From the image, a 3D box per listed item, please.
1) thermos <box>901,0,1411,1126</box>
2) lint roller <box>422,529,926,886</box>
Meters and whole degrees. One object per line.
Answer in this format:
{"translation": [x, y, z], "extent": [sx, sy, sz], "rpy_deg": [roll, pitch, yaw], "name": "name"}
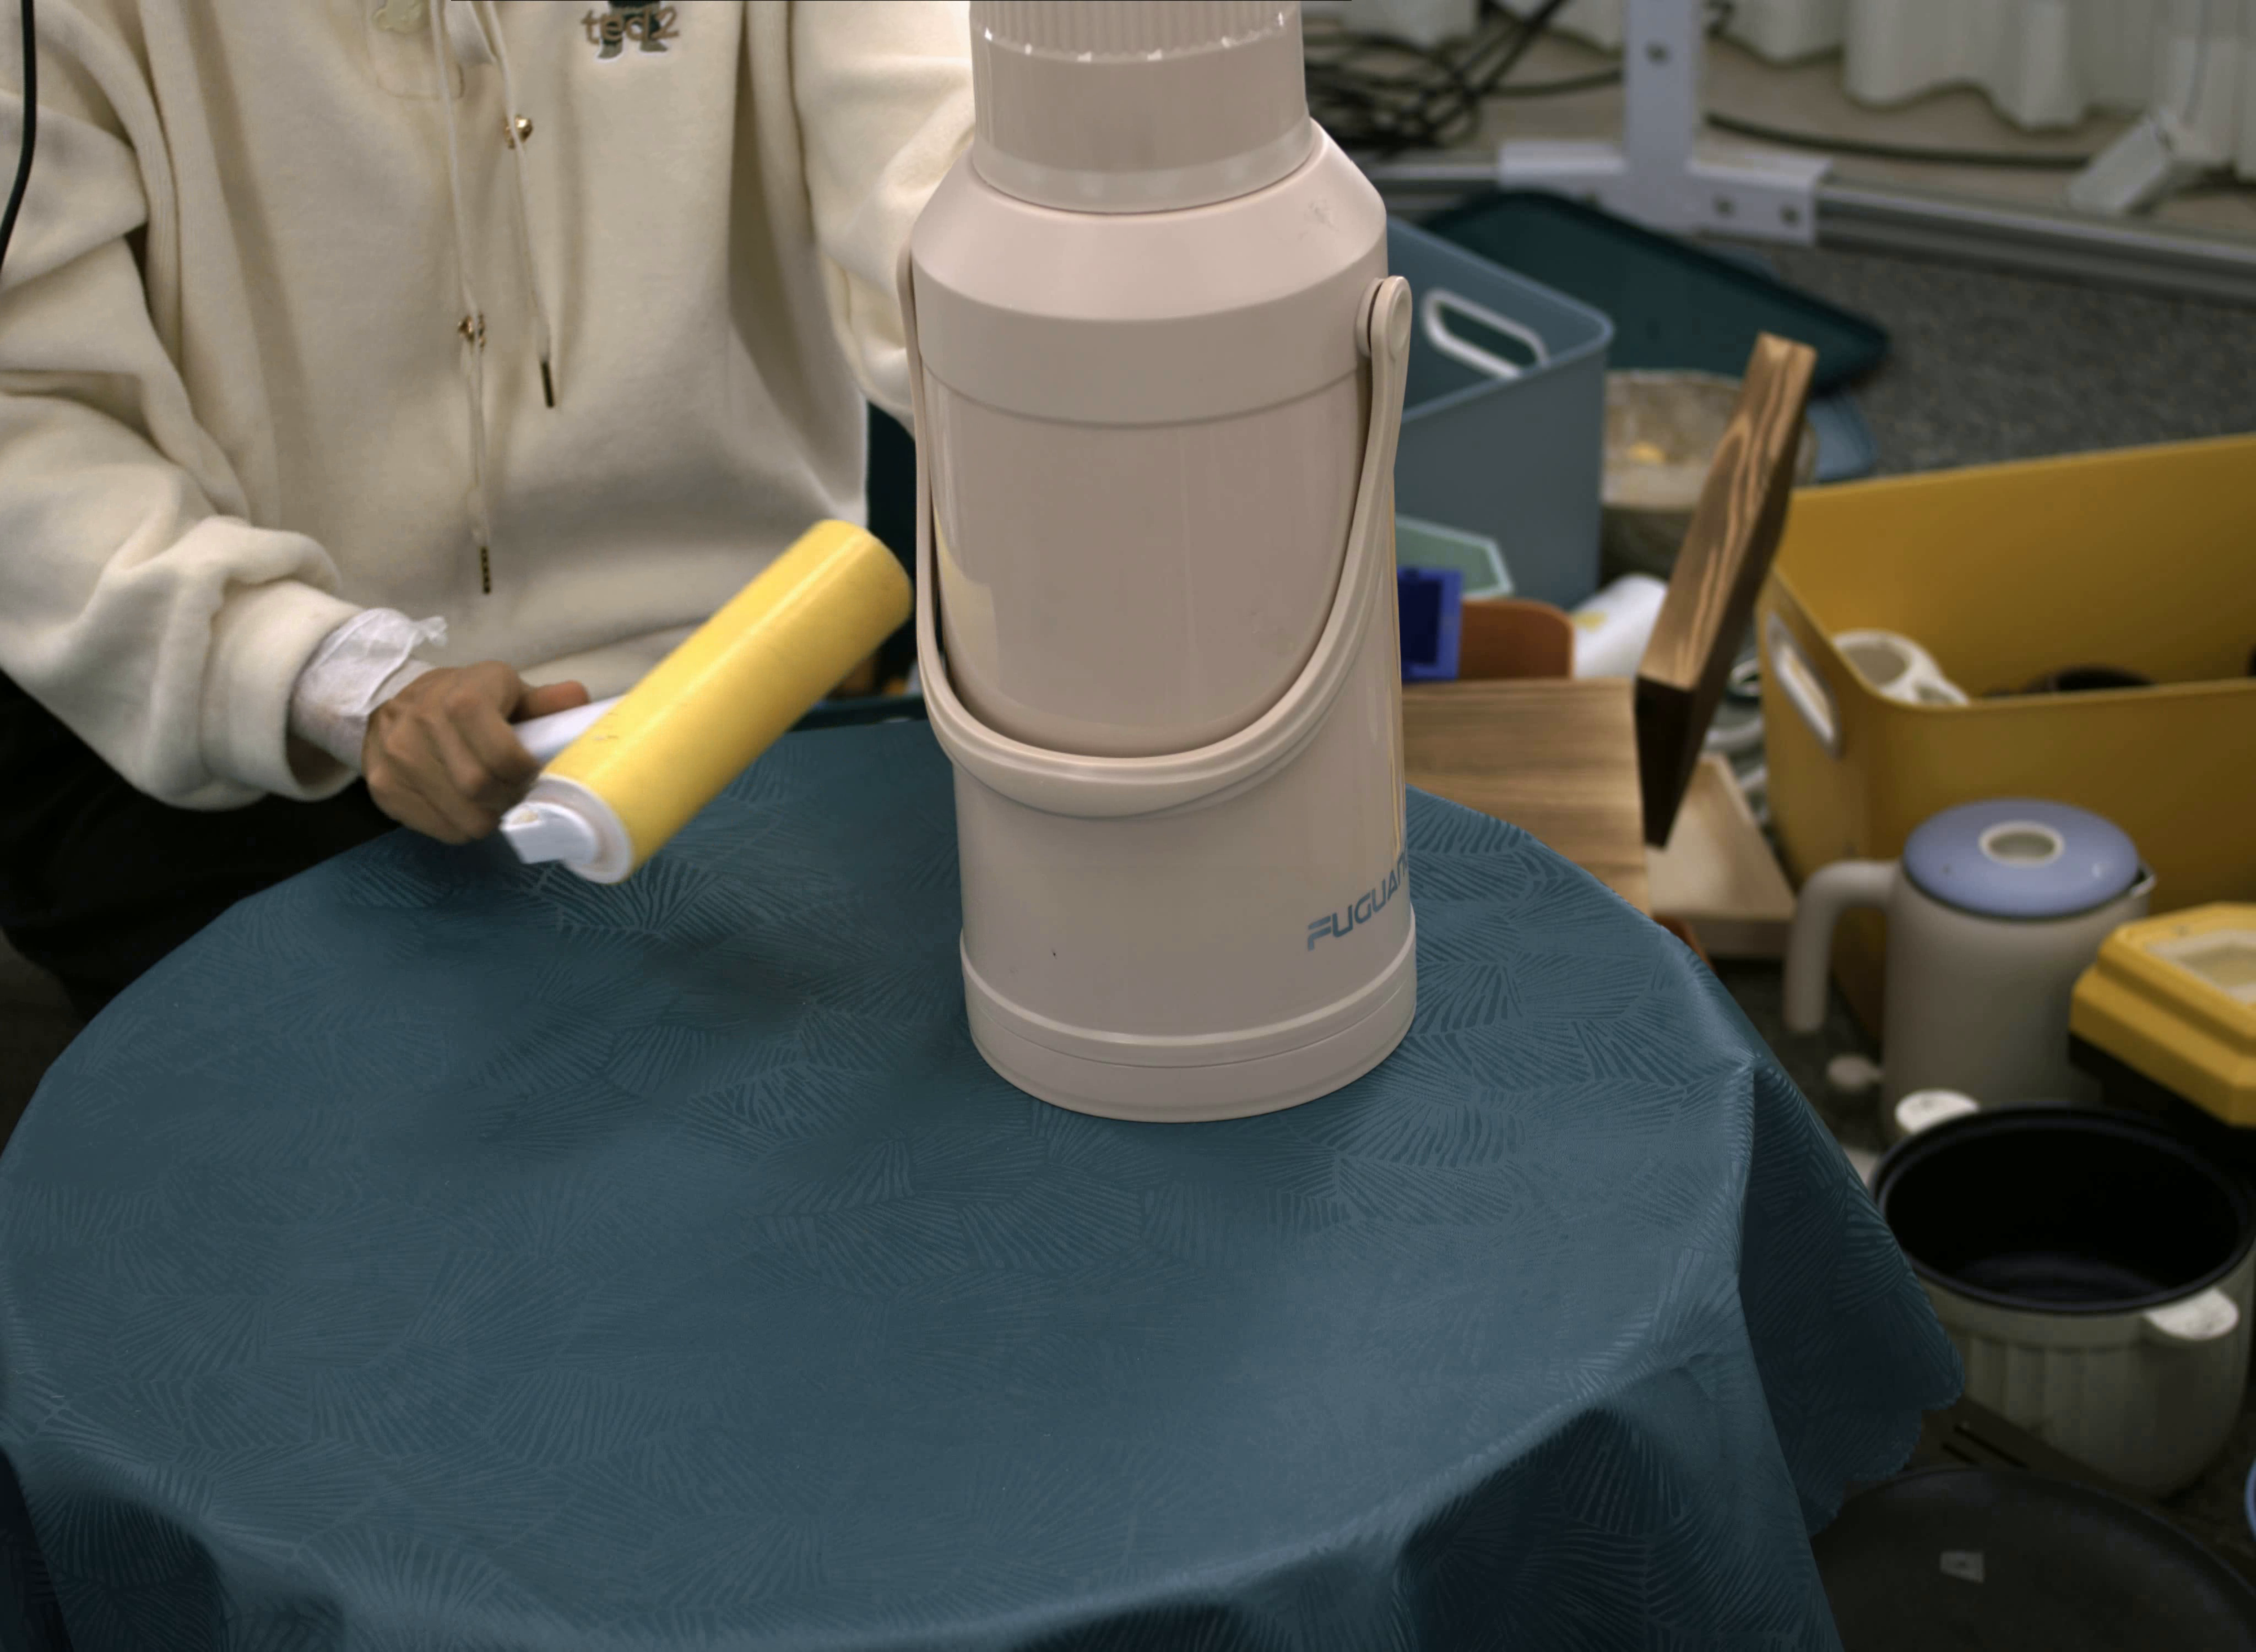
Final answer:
{"translation": [0.018, -0.116, 1.894], "extent": [0.174, 0.402, 0.210], "rpy_deg": [7, 28, 22], "name": "thermos"}
{"translation": [-0.189, -0.043, 2.004], "extent": [0.190, 0.051, 0.177], "rpy_deg": [3, 35, 39], "name": "lint roller"}
